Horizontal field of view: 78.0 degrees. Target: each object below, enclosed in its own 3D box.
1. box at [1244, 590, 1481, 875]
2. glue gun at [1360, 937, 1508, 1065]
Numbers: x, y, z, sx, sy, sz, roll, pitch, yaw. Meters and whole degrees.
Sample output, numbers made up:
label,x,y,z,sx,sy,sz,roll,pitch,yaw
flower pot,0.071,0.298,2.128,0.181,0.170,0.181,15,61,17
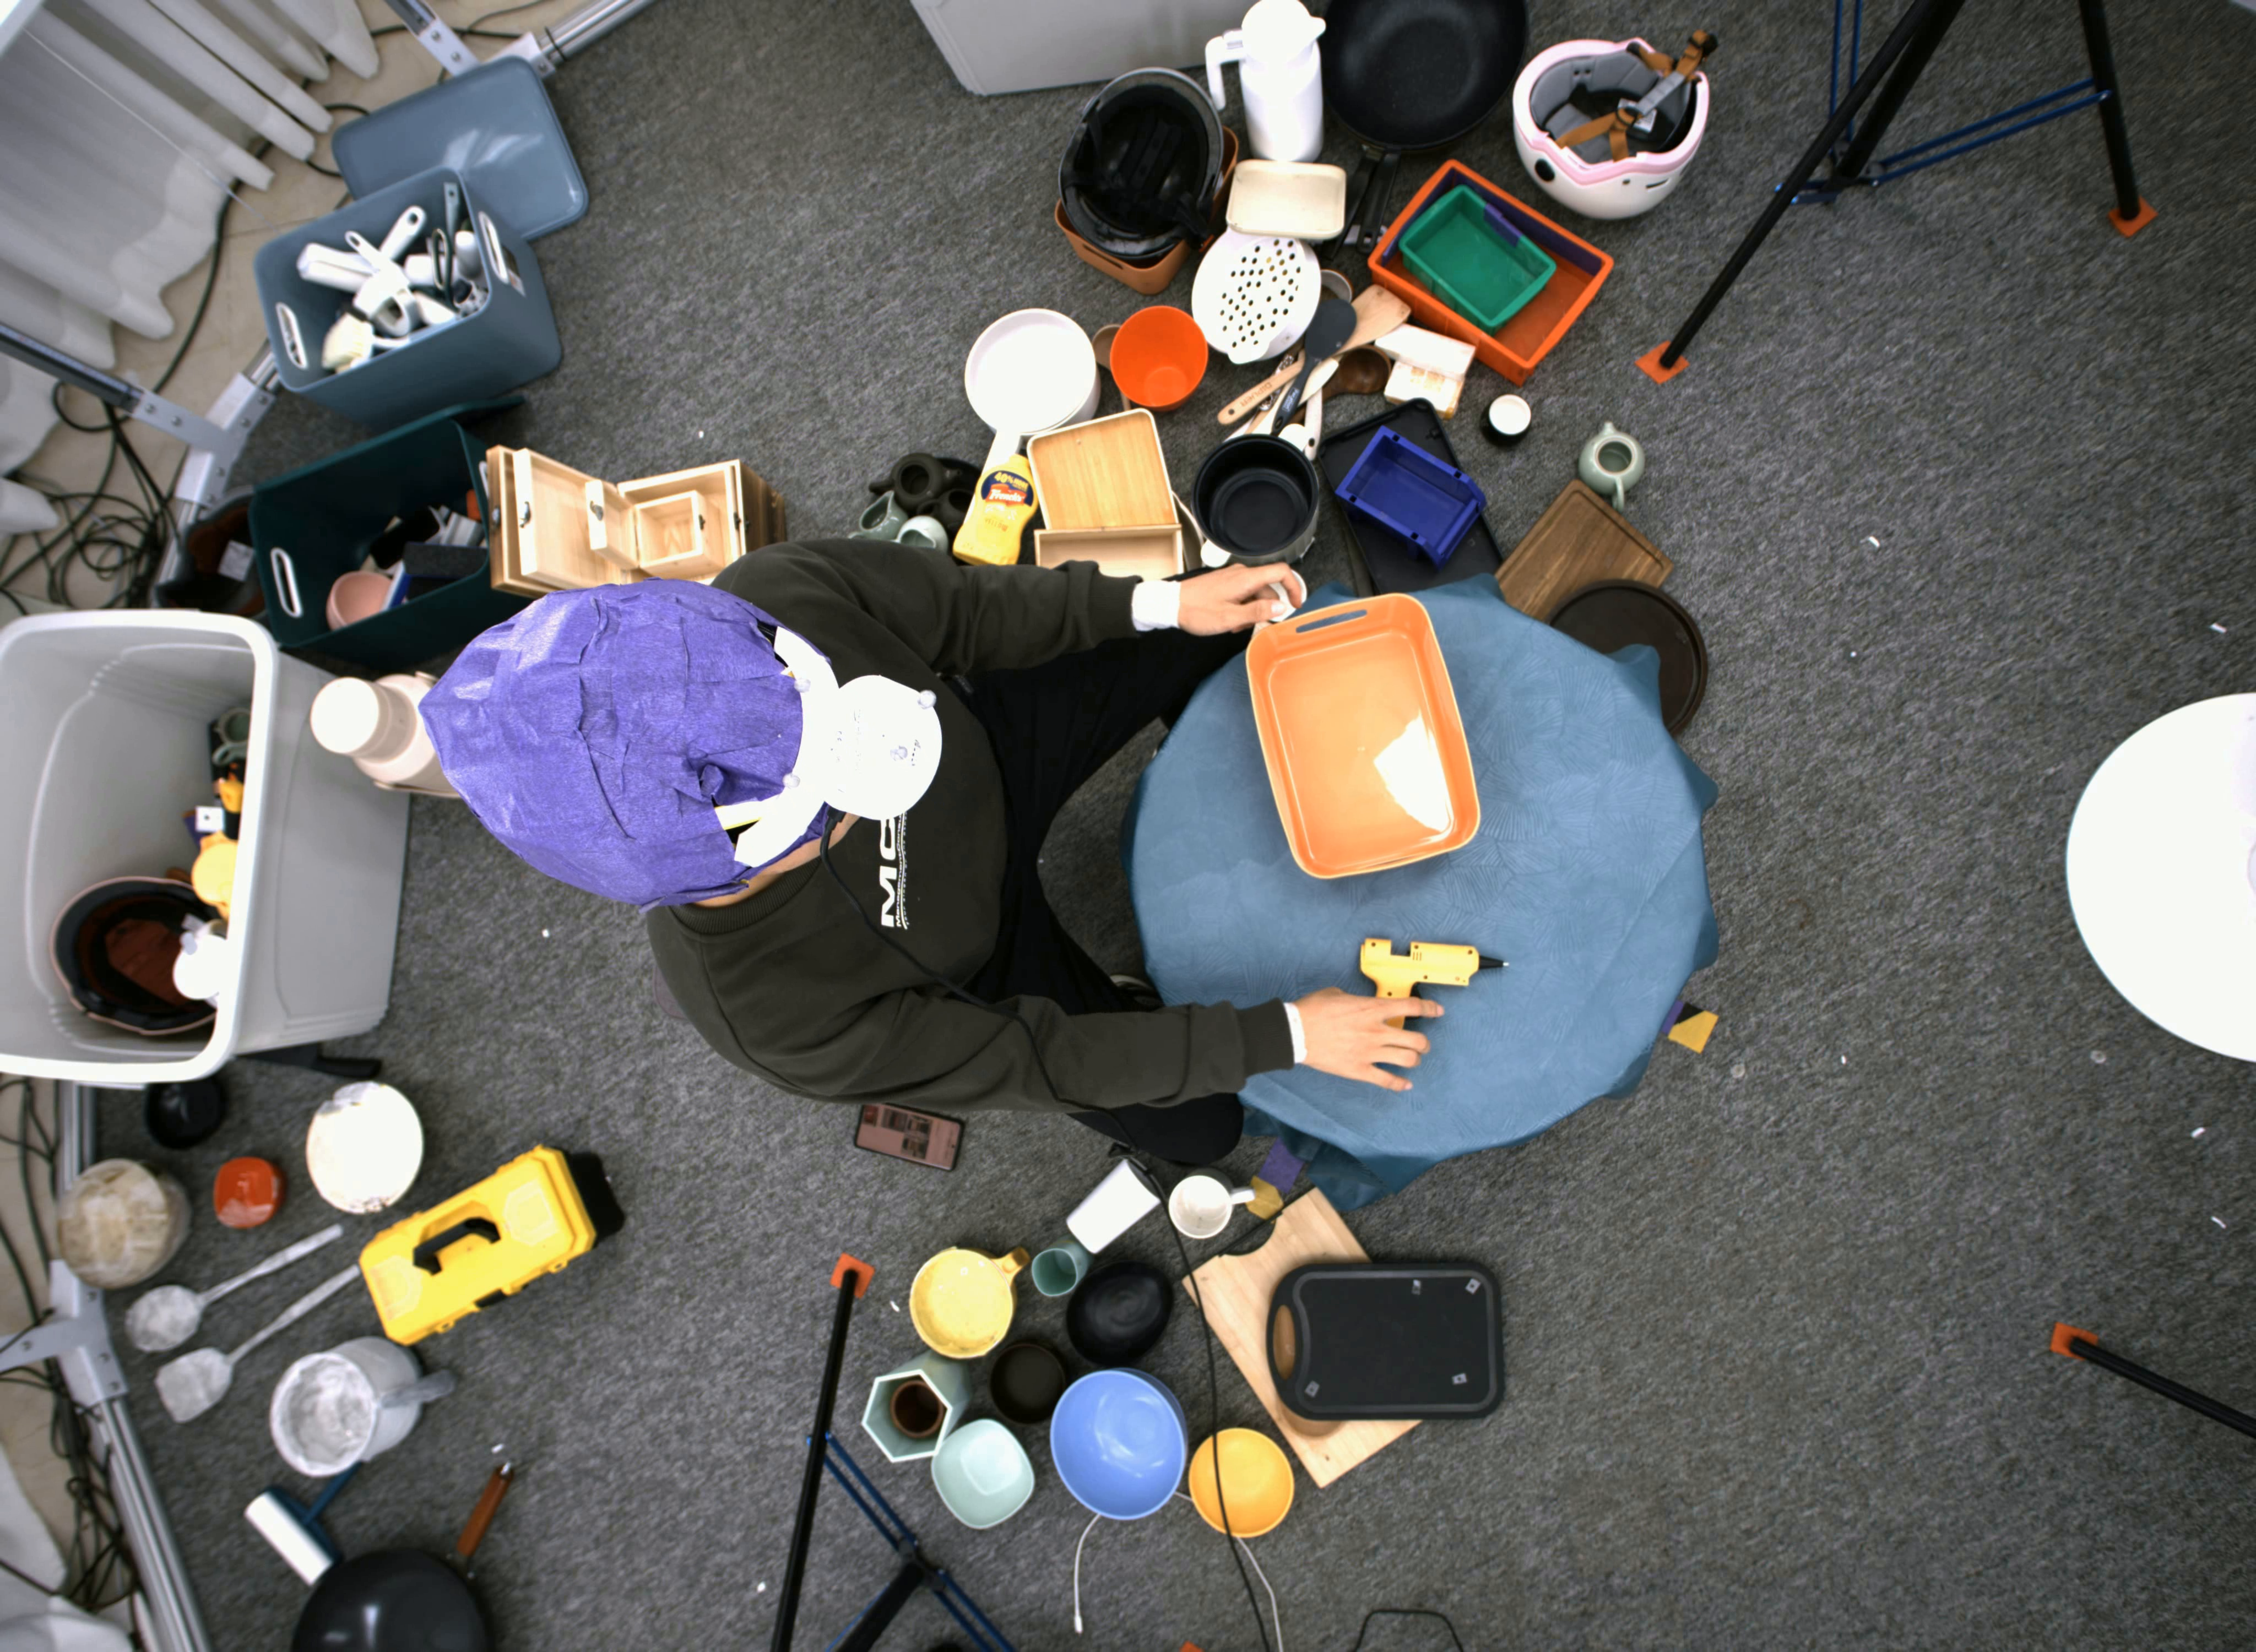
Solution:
label,x,y,z,sx,sy,sz,roll,pitch,yaw
box,0.239,-0.089,1.423,0.200,0.102,0.271,-15,84,9
glue gun,0.317,0.180,1.431,0.152,0.031,0.132,-1,87,12
